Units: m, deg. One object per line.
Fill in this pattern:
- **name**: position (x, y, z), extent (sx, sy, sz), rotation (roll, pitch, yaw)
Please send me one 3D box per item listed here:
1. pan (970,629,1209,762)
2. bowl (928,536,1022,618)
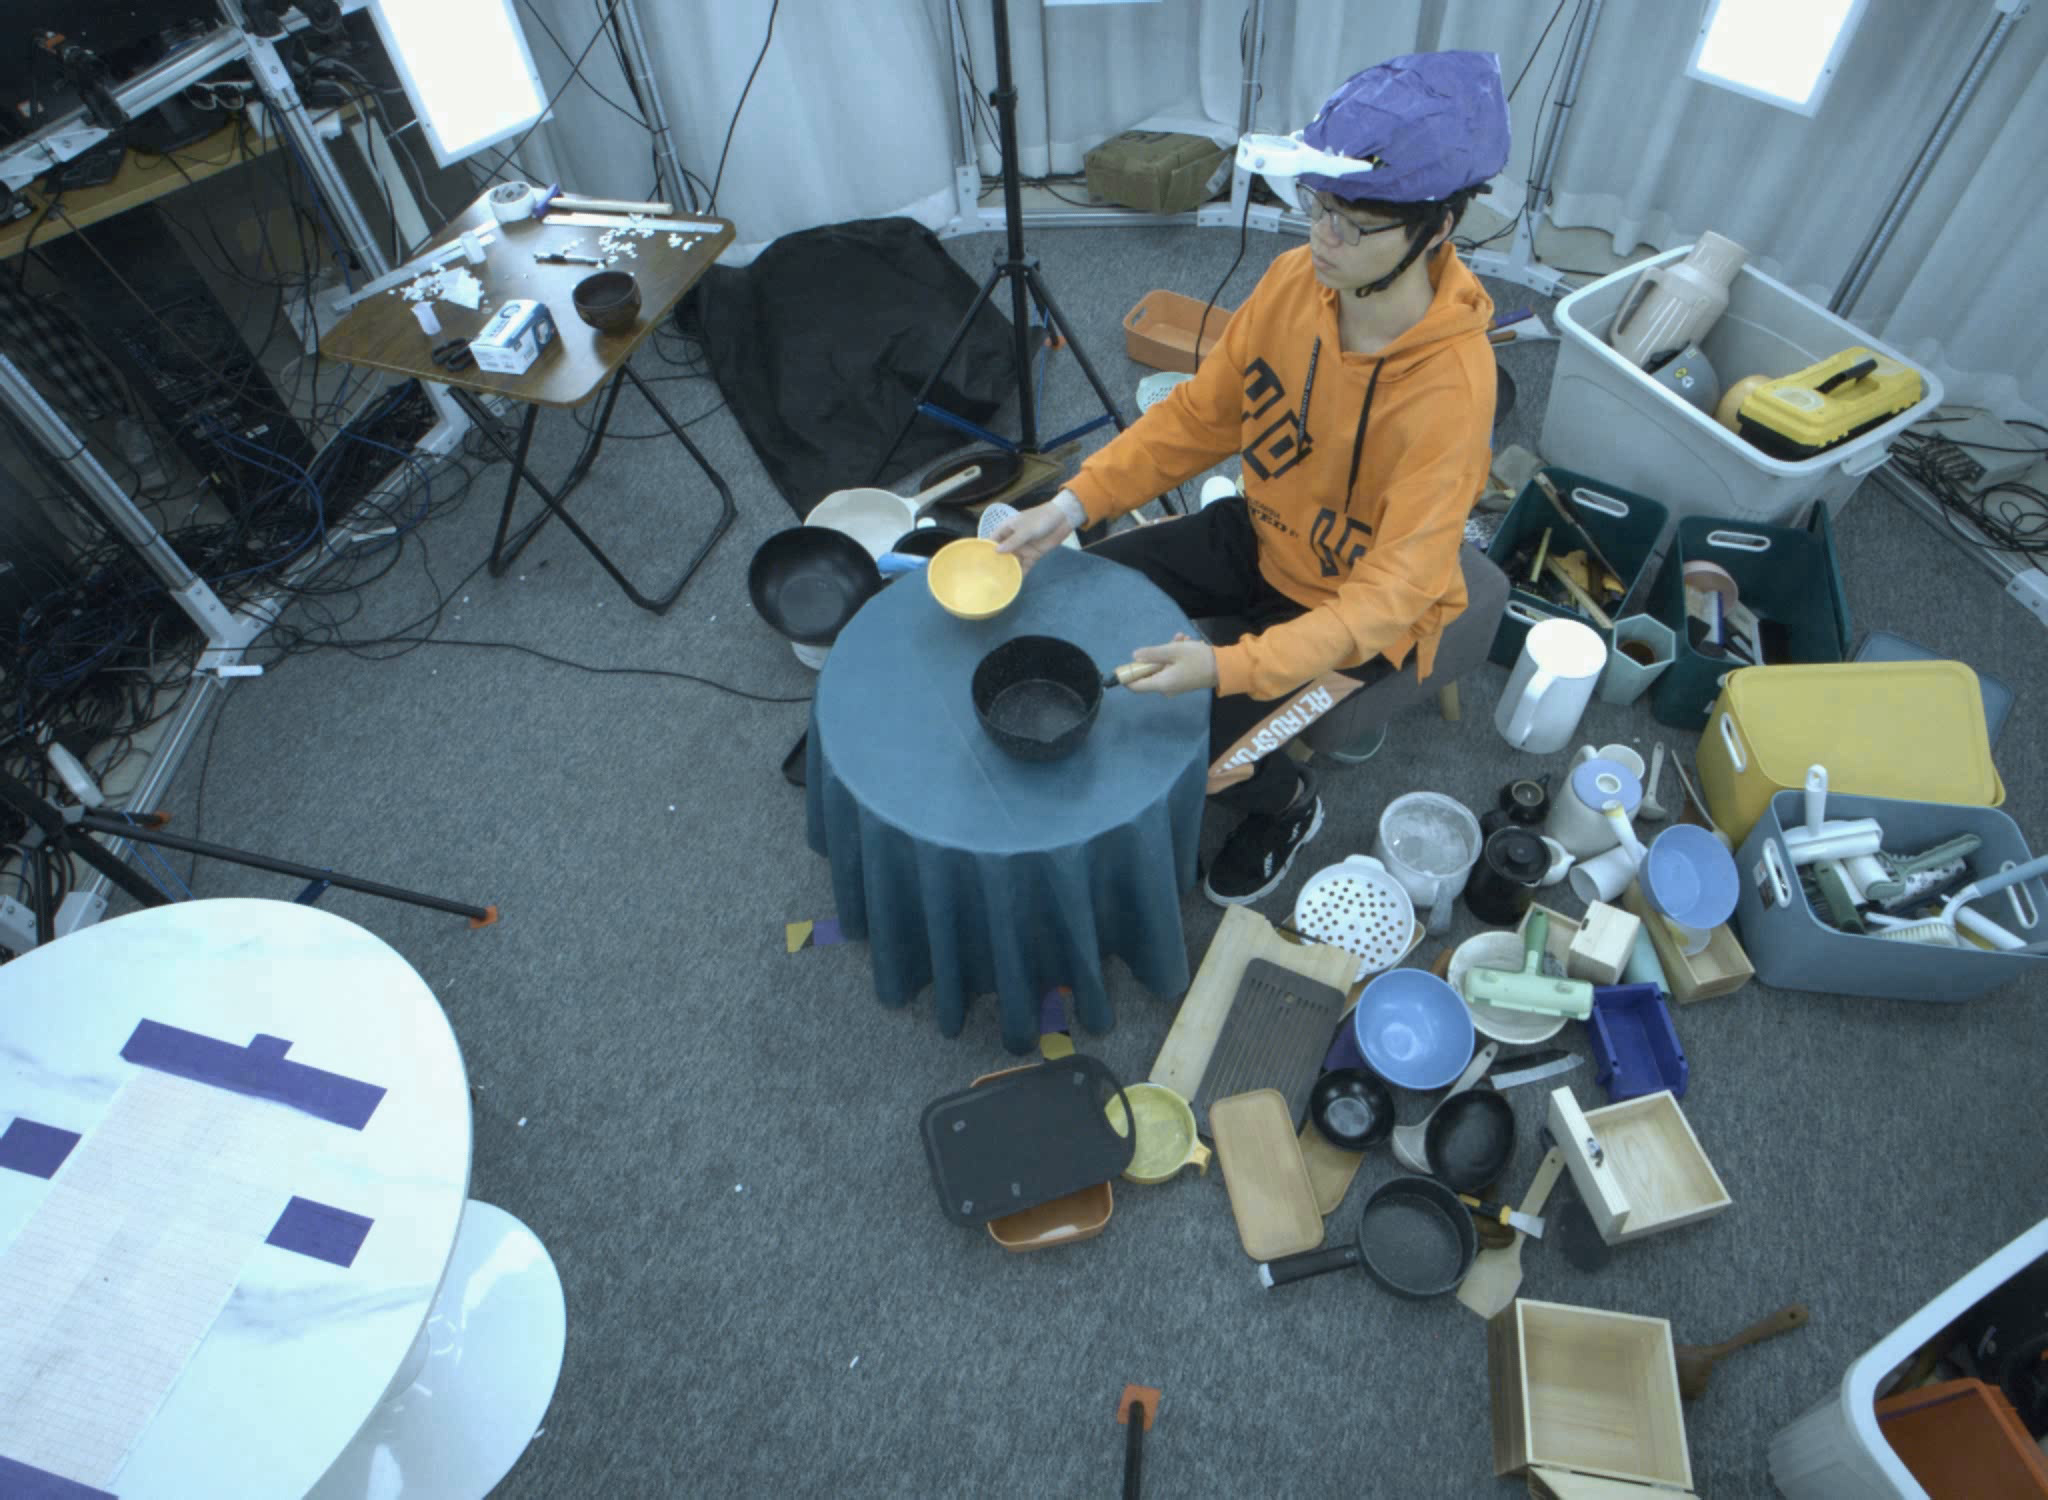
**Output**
- **pan**: position (0.095, -0.090, 1.759), extent (0.344, 0.109, 0.204), rotation (-12, 55, -6)
- **bowl**: position (-0.077, -0.256, 1.893), extent (0.146, 0.060, 0.144), rotation (3, 63, -4)
